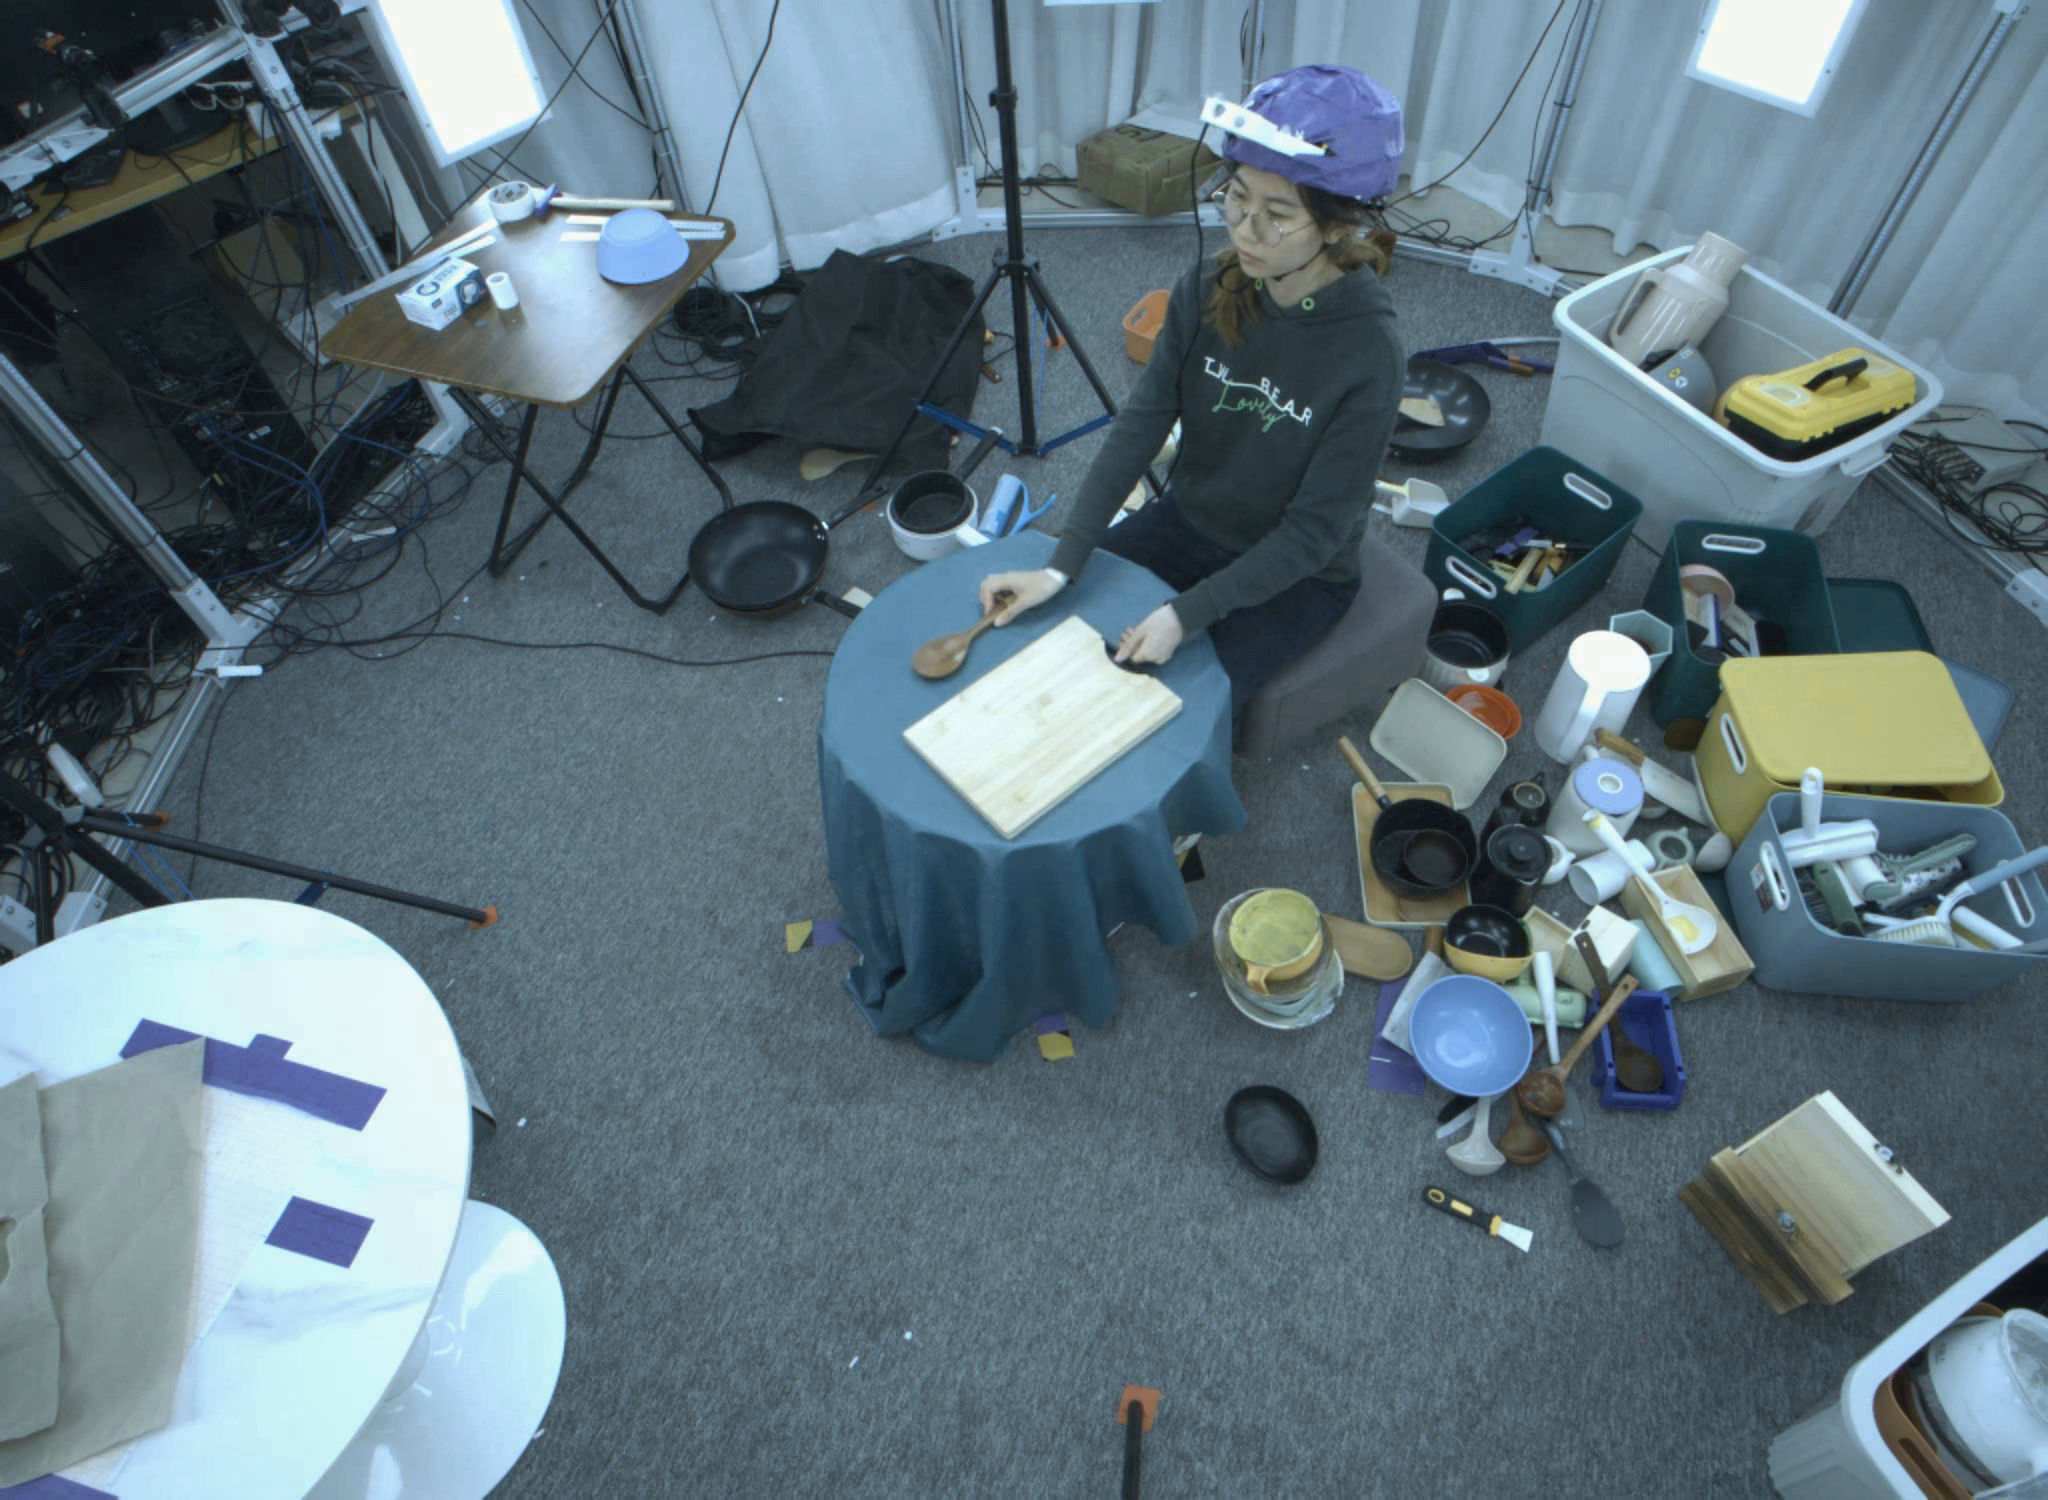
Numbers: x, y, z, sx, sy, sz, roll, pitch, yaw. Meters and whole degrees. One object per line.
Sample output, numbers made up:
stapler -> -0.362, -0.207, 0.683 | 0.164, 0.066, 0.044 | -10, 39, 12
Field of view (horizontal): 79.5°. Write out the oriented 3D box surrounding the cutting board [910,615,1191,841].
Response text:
cutting board -> 0.037, -0.042, 1.816 | 0.351, 0.024, 0.246 | -37, 62, -22

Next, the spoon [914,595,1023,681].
spoon -> -0.082, -0.175, 1.912 | 0.074, 0.017, 0.217 | 37, 64, 26
